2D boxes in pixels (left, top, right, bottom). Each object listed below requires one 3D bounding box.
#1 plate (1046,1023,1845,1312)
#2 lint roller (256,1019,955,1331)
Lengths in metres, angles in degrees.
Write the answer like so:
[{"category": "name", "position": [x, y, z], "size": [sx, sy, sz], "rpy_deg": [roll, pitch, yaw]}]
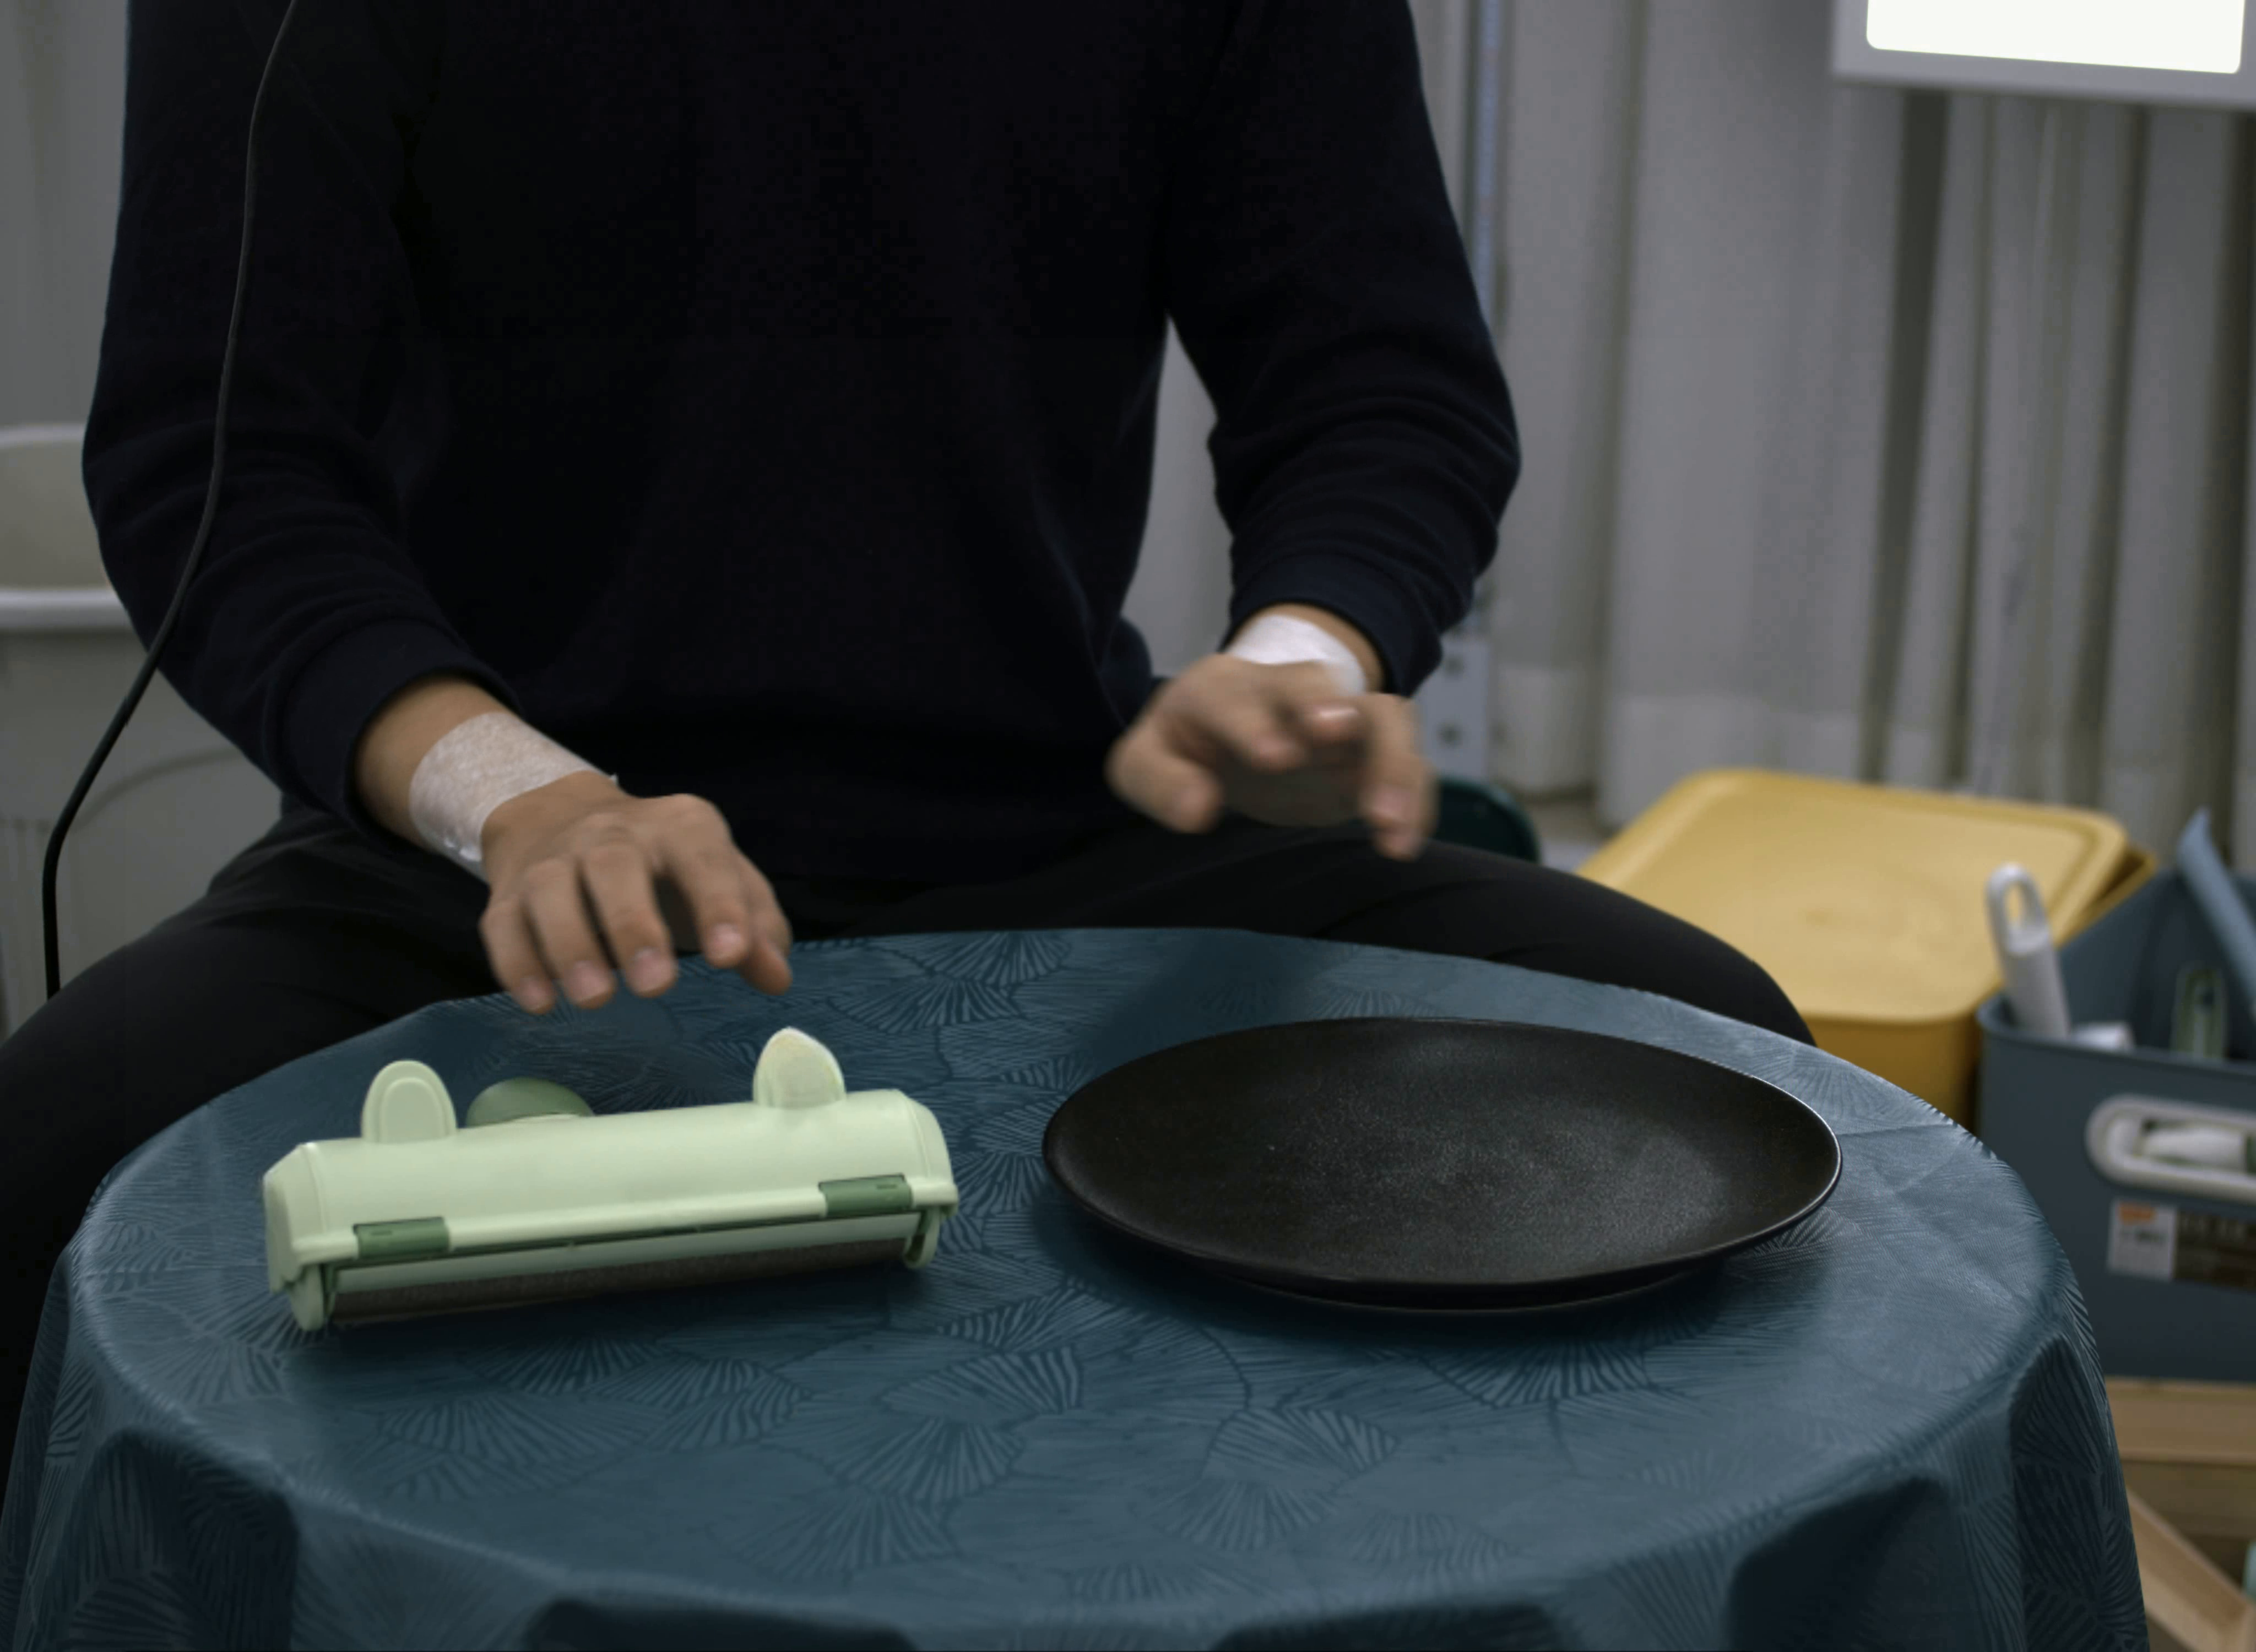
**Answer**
[{"category": "plate", "position": [0.096, 0.105, 1.605], "size": [0.243, 0.023, 0.243], "rpy_deg": [1, 16, 0]}, {"category": "lint roller", "position": [-0.168, 0.082, 1.563], "size": [0.199, 0.083, 0.181], "rpy_deg": [-4, 23, -20]}]
